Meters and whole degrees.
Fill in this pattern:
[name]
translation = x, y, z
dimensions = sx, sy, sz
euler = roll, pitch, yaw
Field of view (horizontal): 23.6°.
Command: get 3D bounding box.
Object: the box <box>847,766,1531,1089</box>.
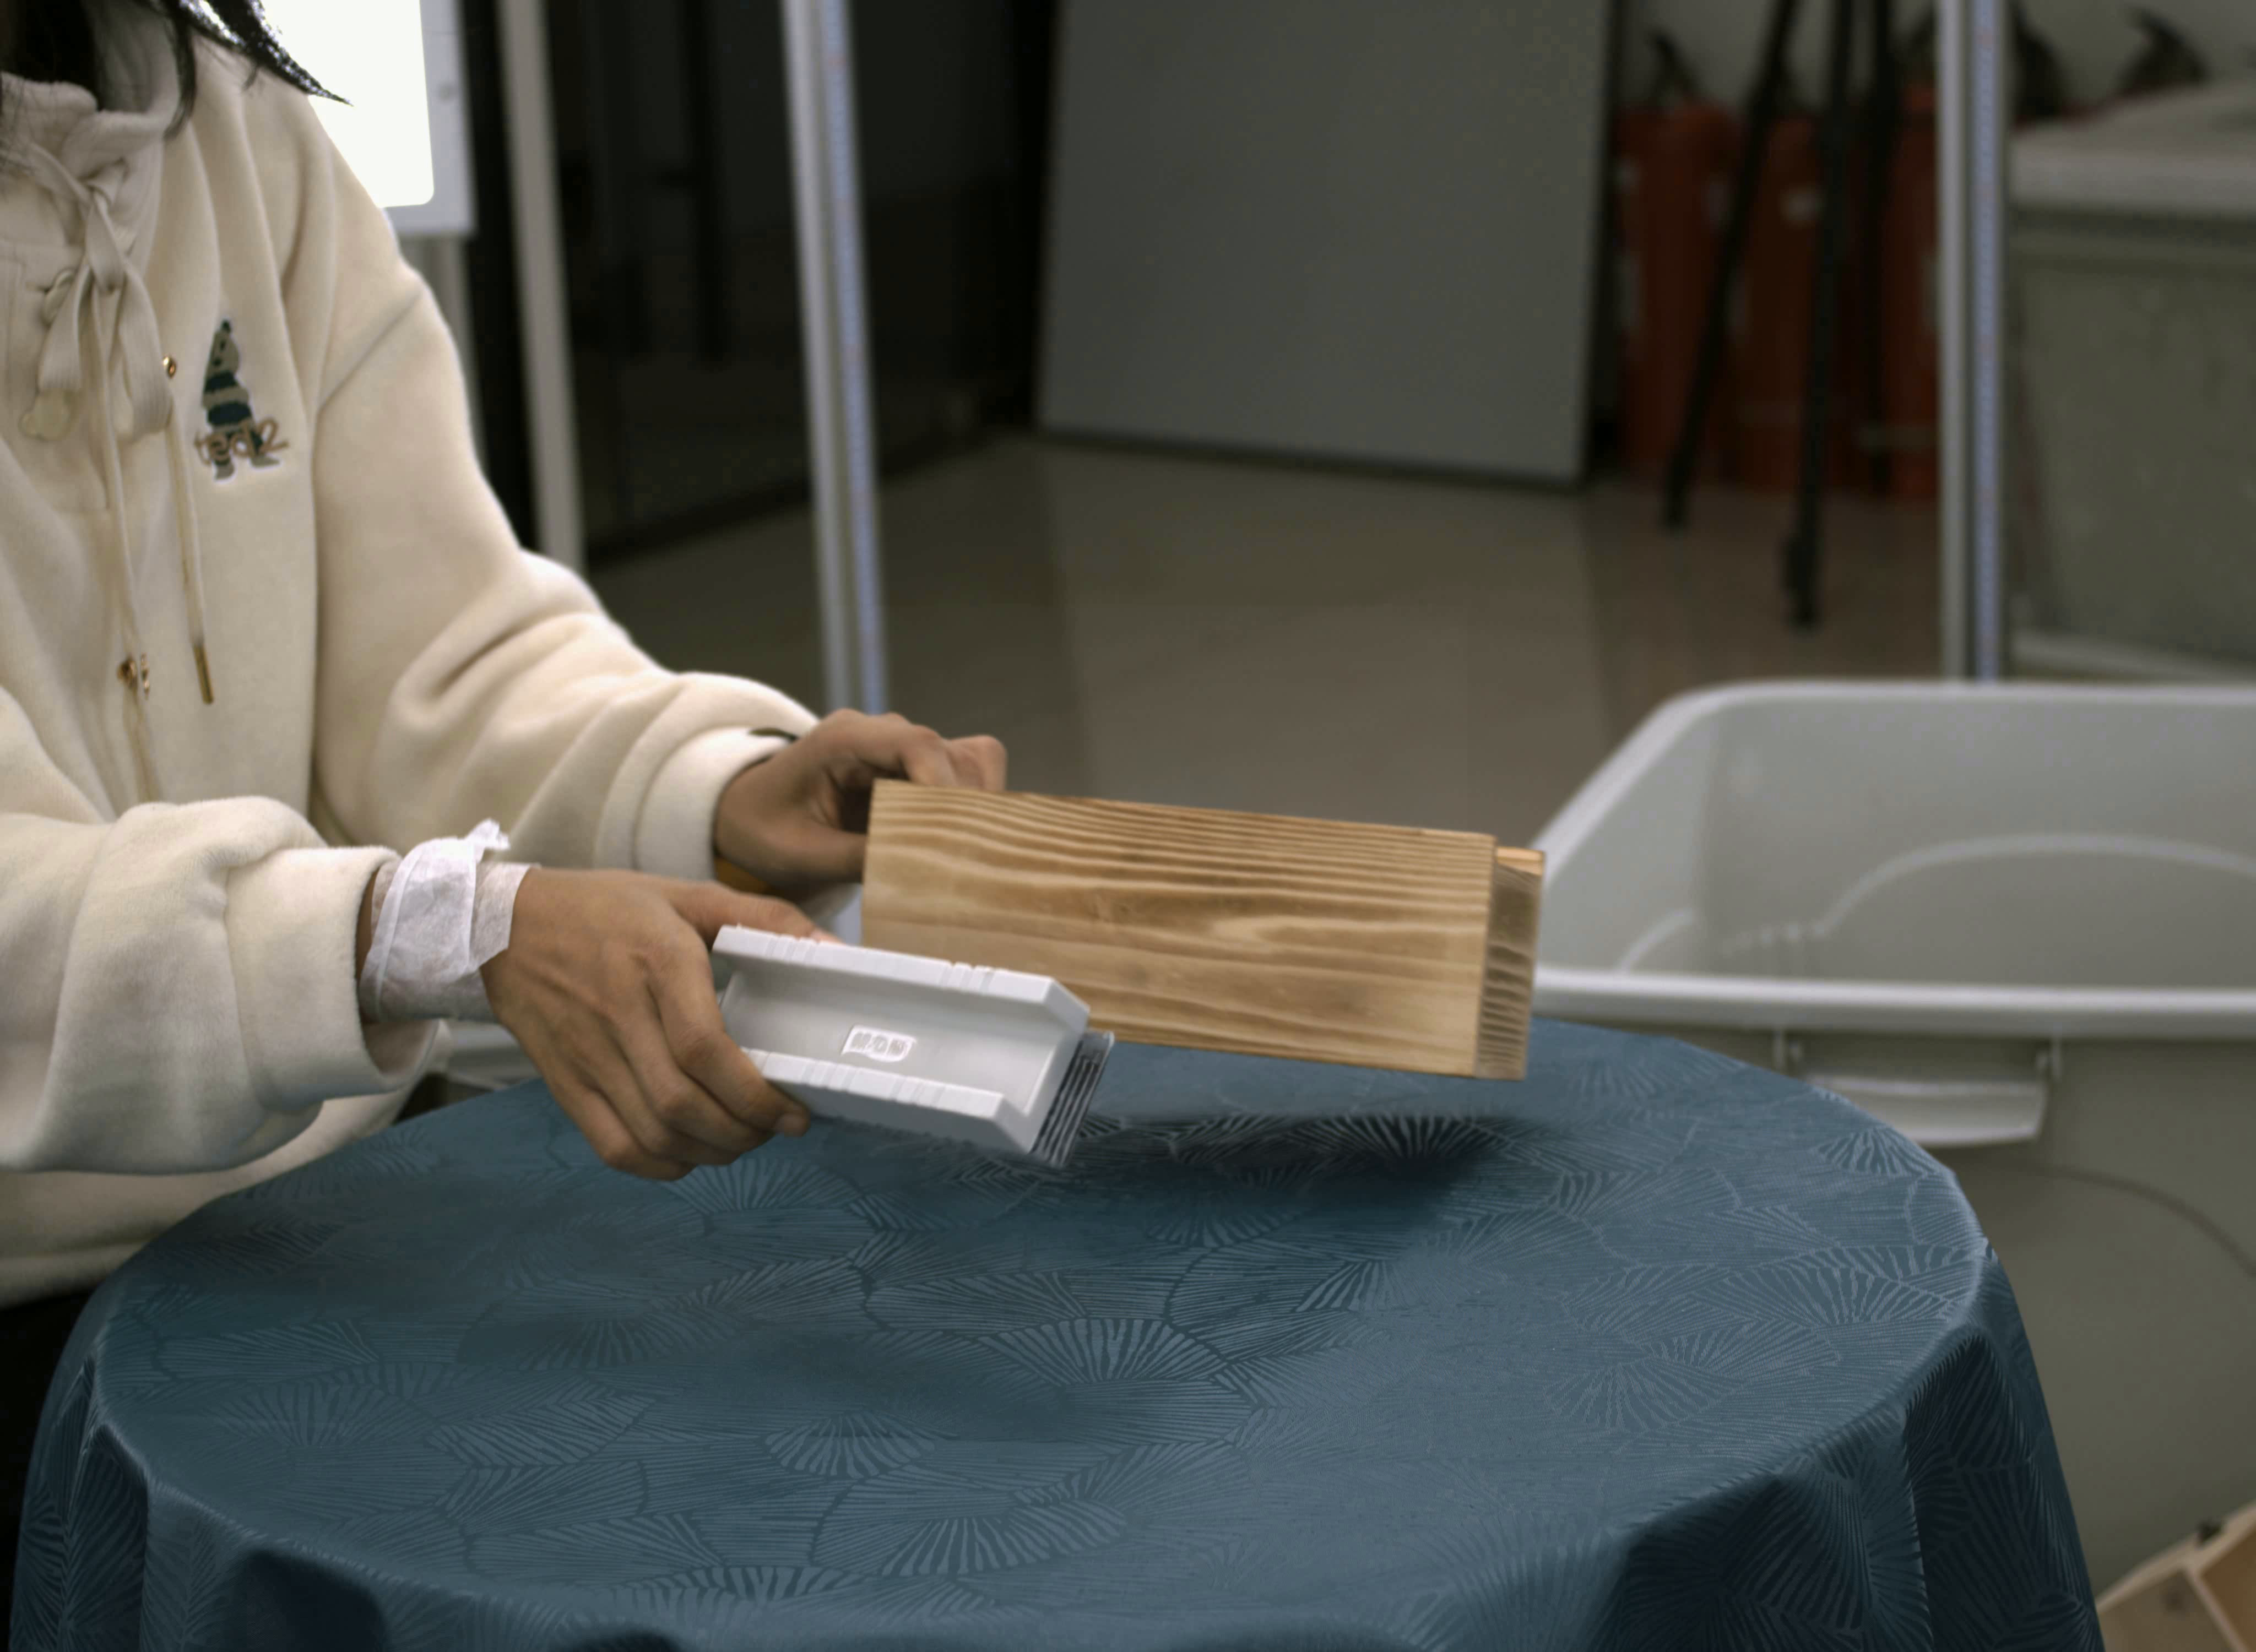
[box]
translation = 0.021, 0.035, 1.801
dimensions = 0.210, 0.081, 0.106
euler = 6, -4, 14

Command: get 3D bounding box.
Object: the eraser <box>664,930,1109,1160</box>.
[eraser]
translation = -0.073, 0.066, 1.637
dimensions = 0.135, 0.050, 0.046
euler = 4, -23, 37
